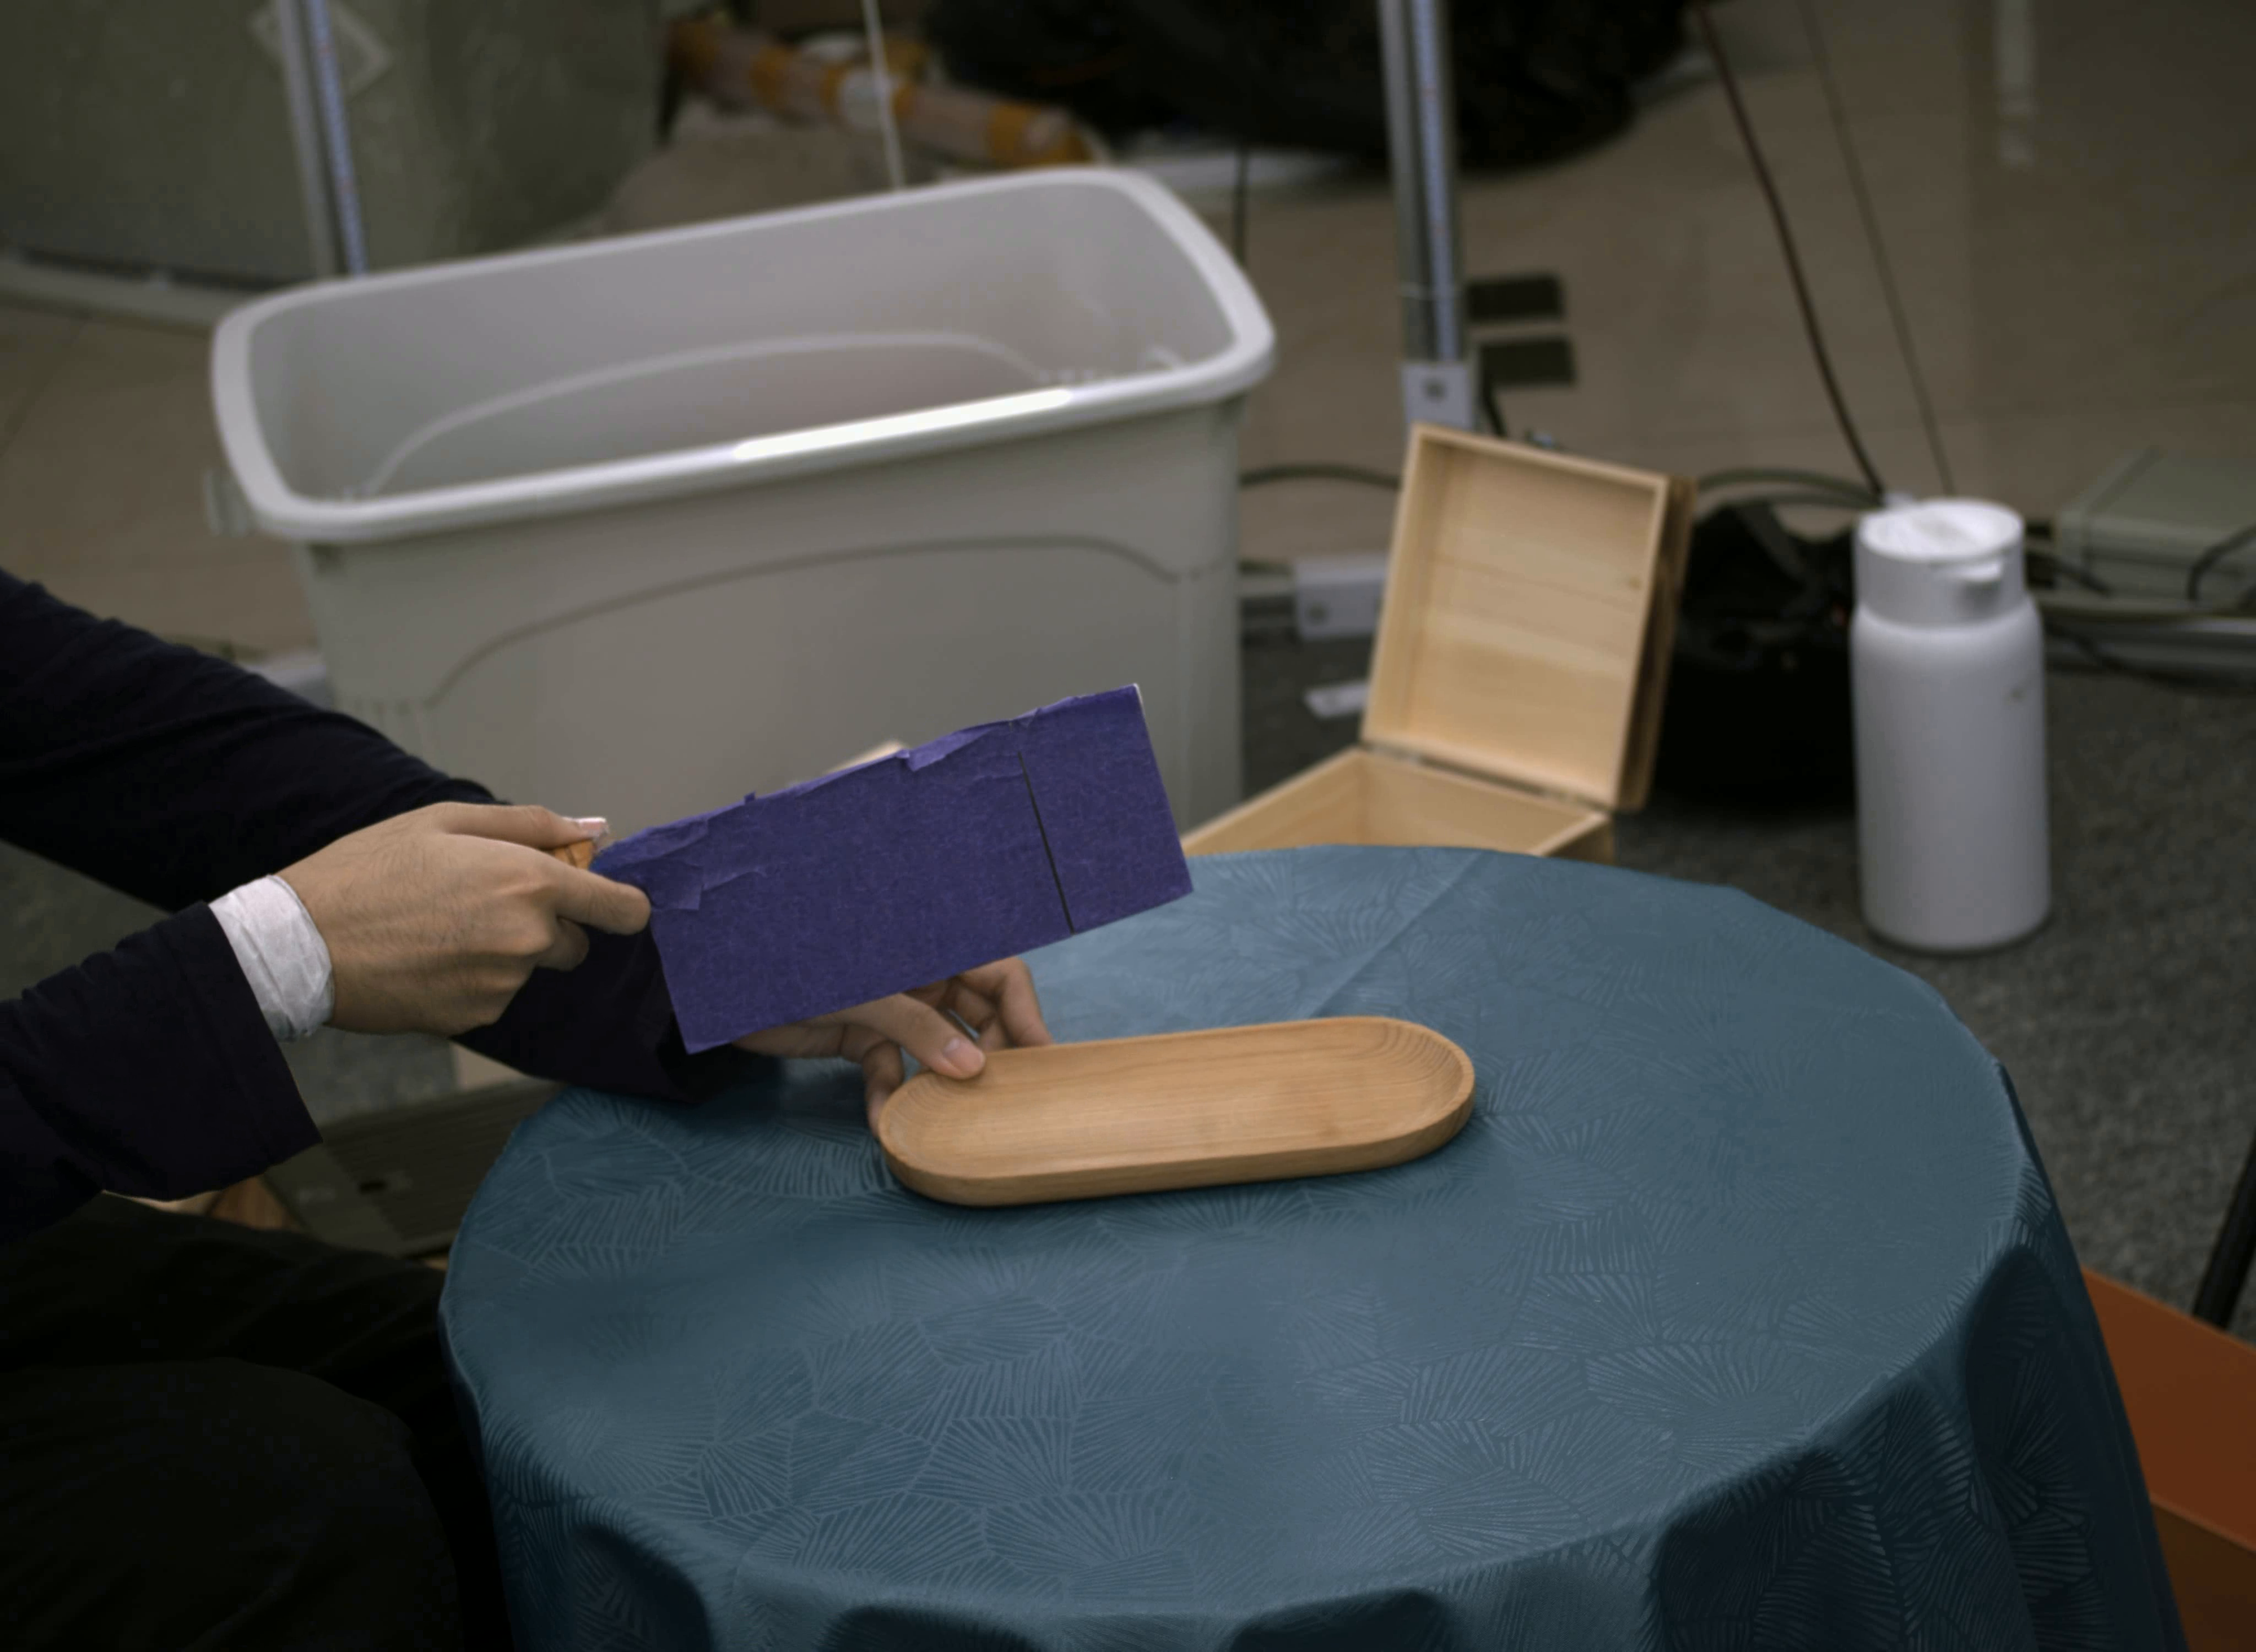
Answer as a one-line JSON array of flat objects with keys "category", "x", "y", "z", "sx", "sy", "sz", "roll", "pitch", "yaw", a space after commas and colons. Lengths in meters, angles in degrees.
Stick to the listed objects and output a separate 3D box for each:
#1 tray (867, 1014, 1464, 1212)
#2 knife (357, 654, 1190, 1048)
[{"category": "tray", "x": 0.015, "y": 0.111, "z": 2.183, "sx": 0.231, "sy": 0.020, "sz": 0.100, "roll": -8, "pitch": 26, "yaw": -1}, {"category": "knife", "x": -0.129, "y": 0.029, "z": 2.142, "sx": 0.314, "sy": 0.105, "sz": 0.032, "roll": -18, "pitch": 16, "yaw": -9}]
